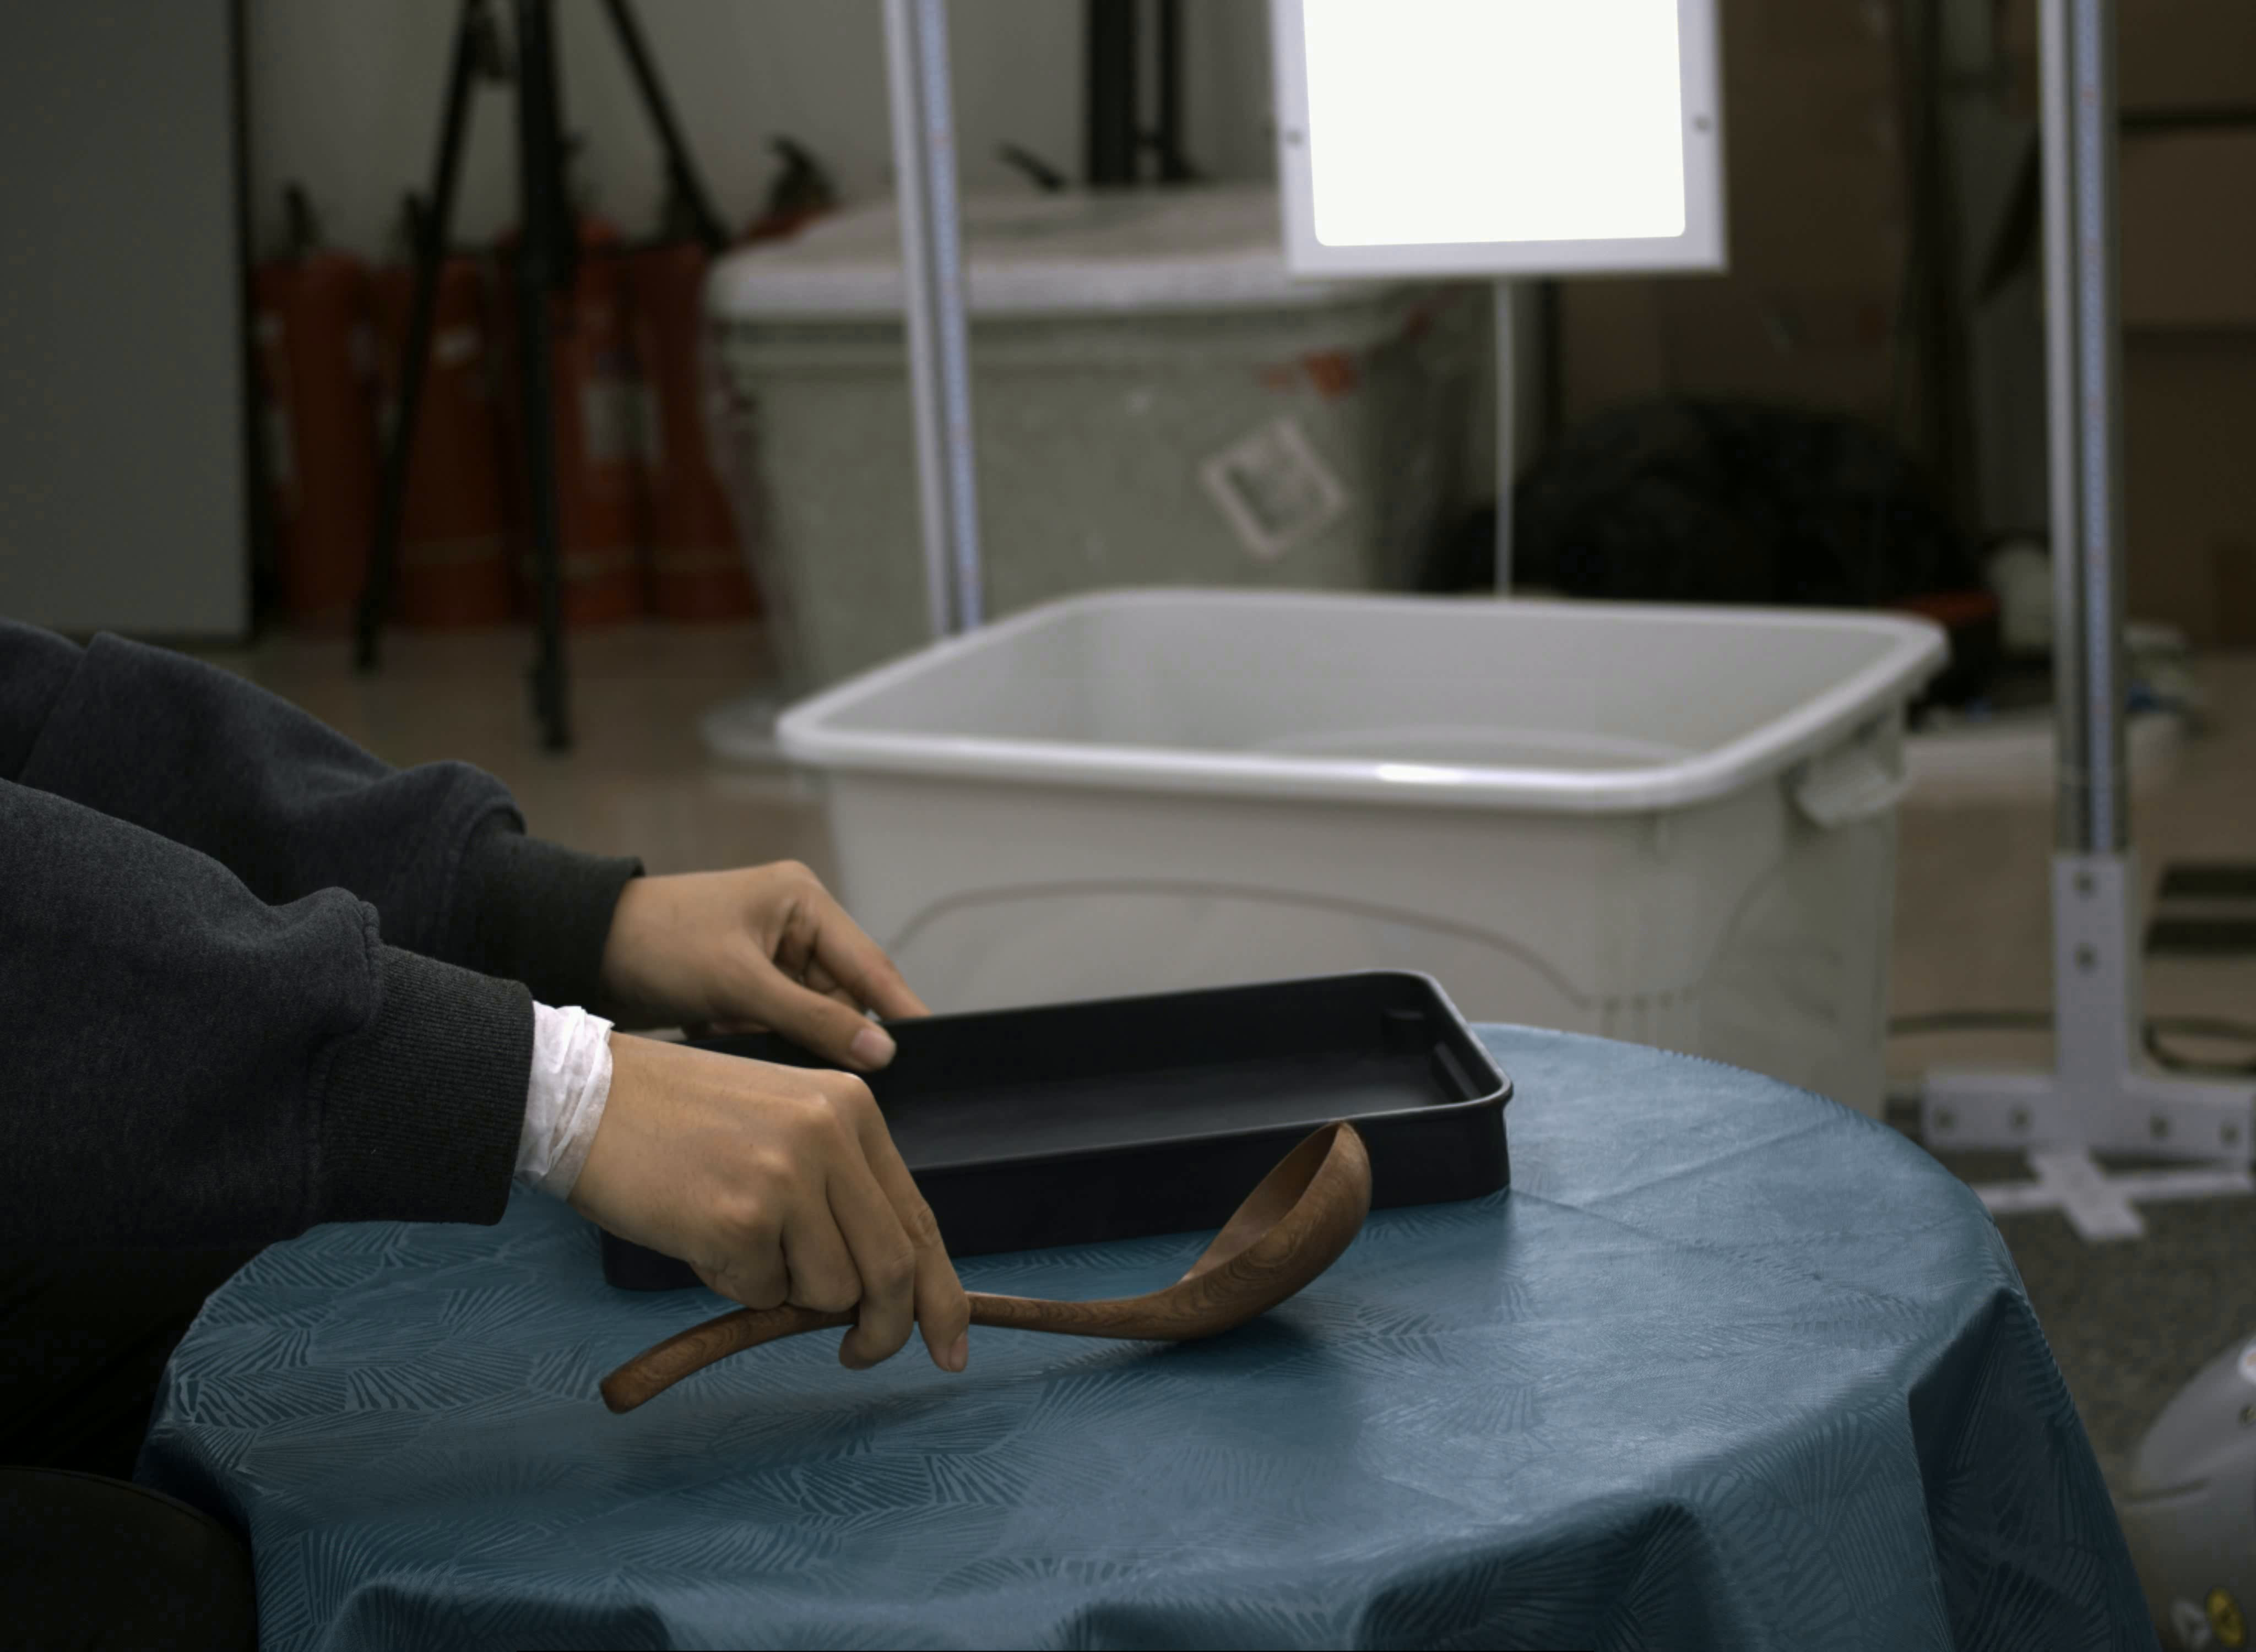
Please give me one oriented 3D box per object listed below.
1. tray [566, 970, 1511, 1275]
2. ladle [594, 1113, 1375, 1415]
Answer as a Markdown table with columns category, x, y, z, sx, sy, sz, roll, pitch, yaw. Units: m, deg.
| category | x | y | z | sx | sy | sz | roll | pitch | yaw |
| --- | --- | --- | --- | --- | --- | --- | --- | --- | --- |
| tray | -0.035 | 0.101 | 1.926 | 0.316 | 0.037 | 0.185 | -5 | 14 | -5 |
| ladle | -0.044 | 0.136 | 1.717 | 0.256 | 0.065 | 0.077 | -6 | -12 | -17 |
